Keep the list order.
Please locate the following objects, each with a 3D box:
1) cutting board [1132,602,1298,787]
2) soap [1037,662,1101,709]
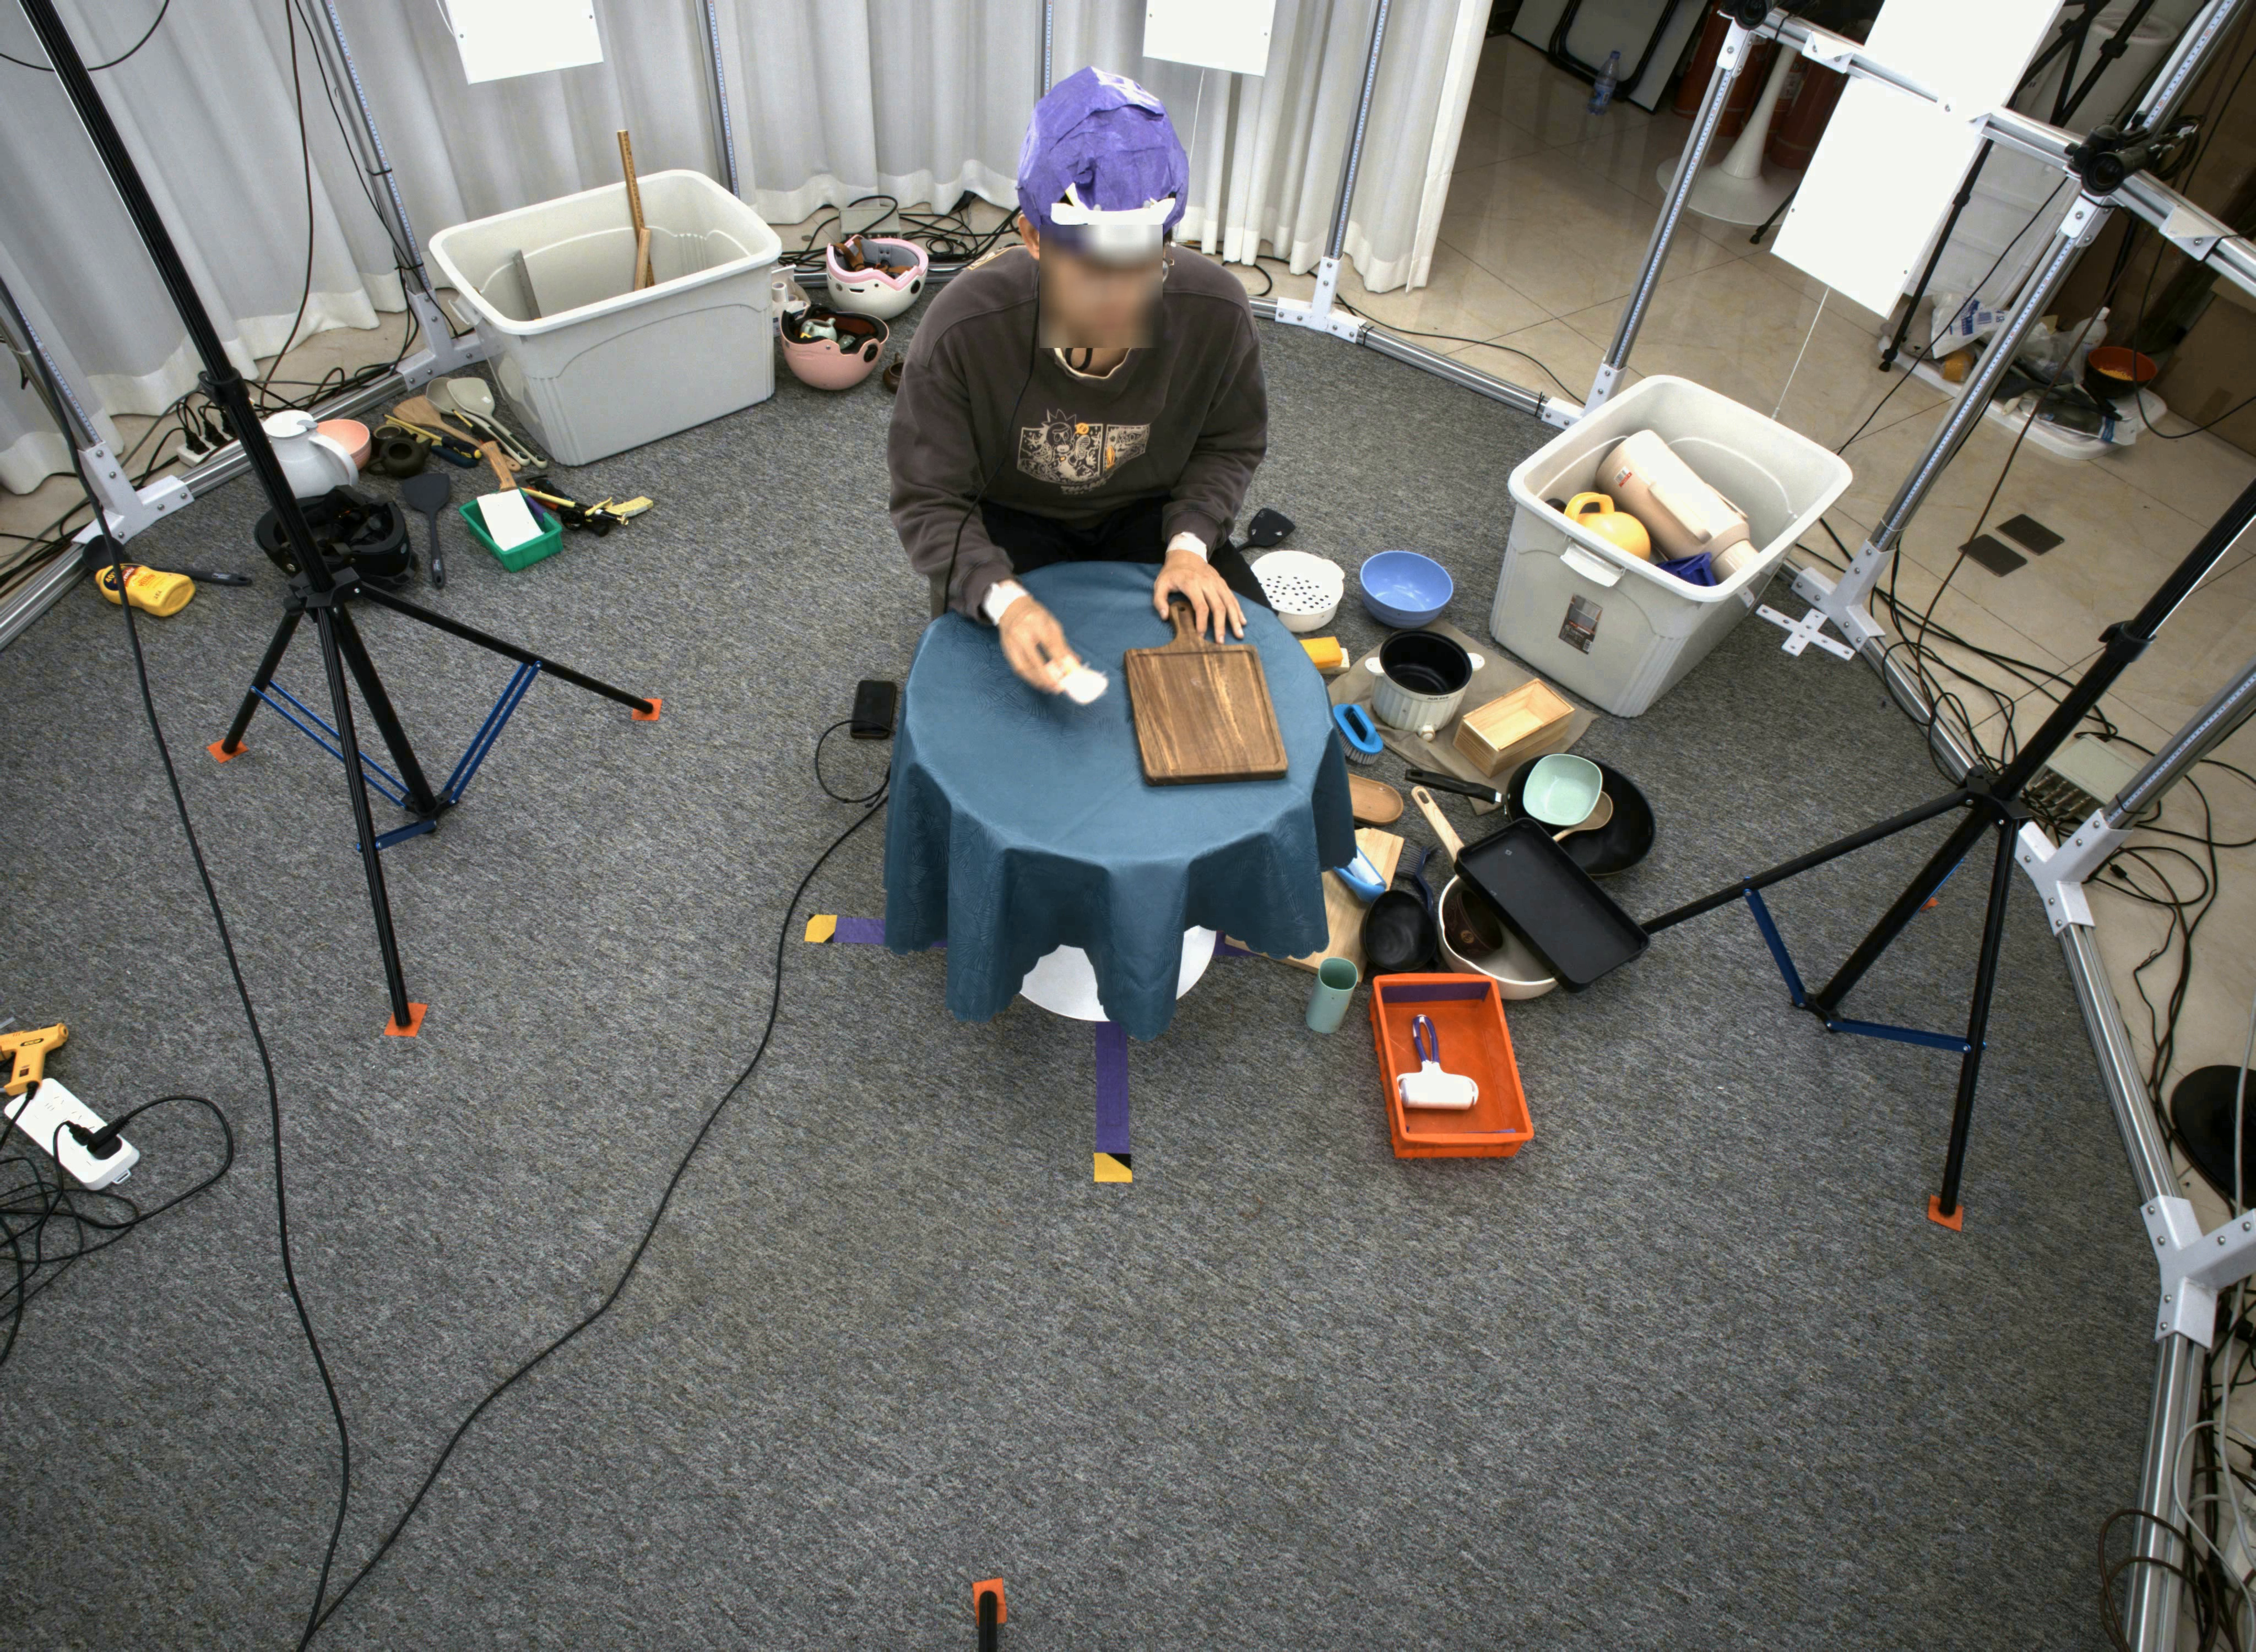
[{"bbox_3d":[0.113,-0.197,1.830,0.201,0.022,0.361,-3,49,-6],"label":"cutting board"},{"bbox_3d":[-0.081,-0.192,1.753,0.096,0.029,0.051,35,58,30],"label":"soap"}]
